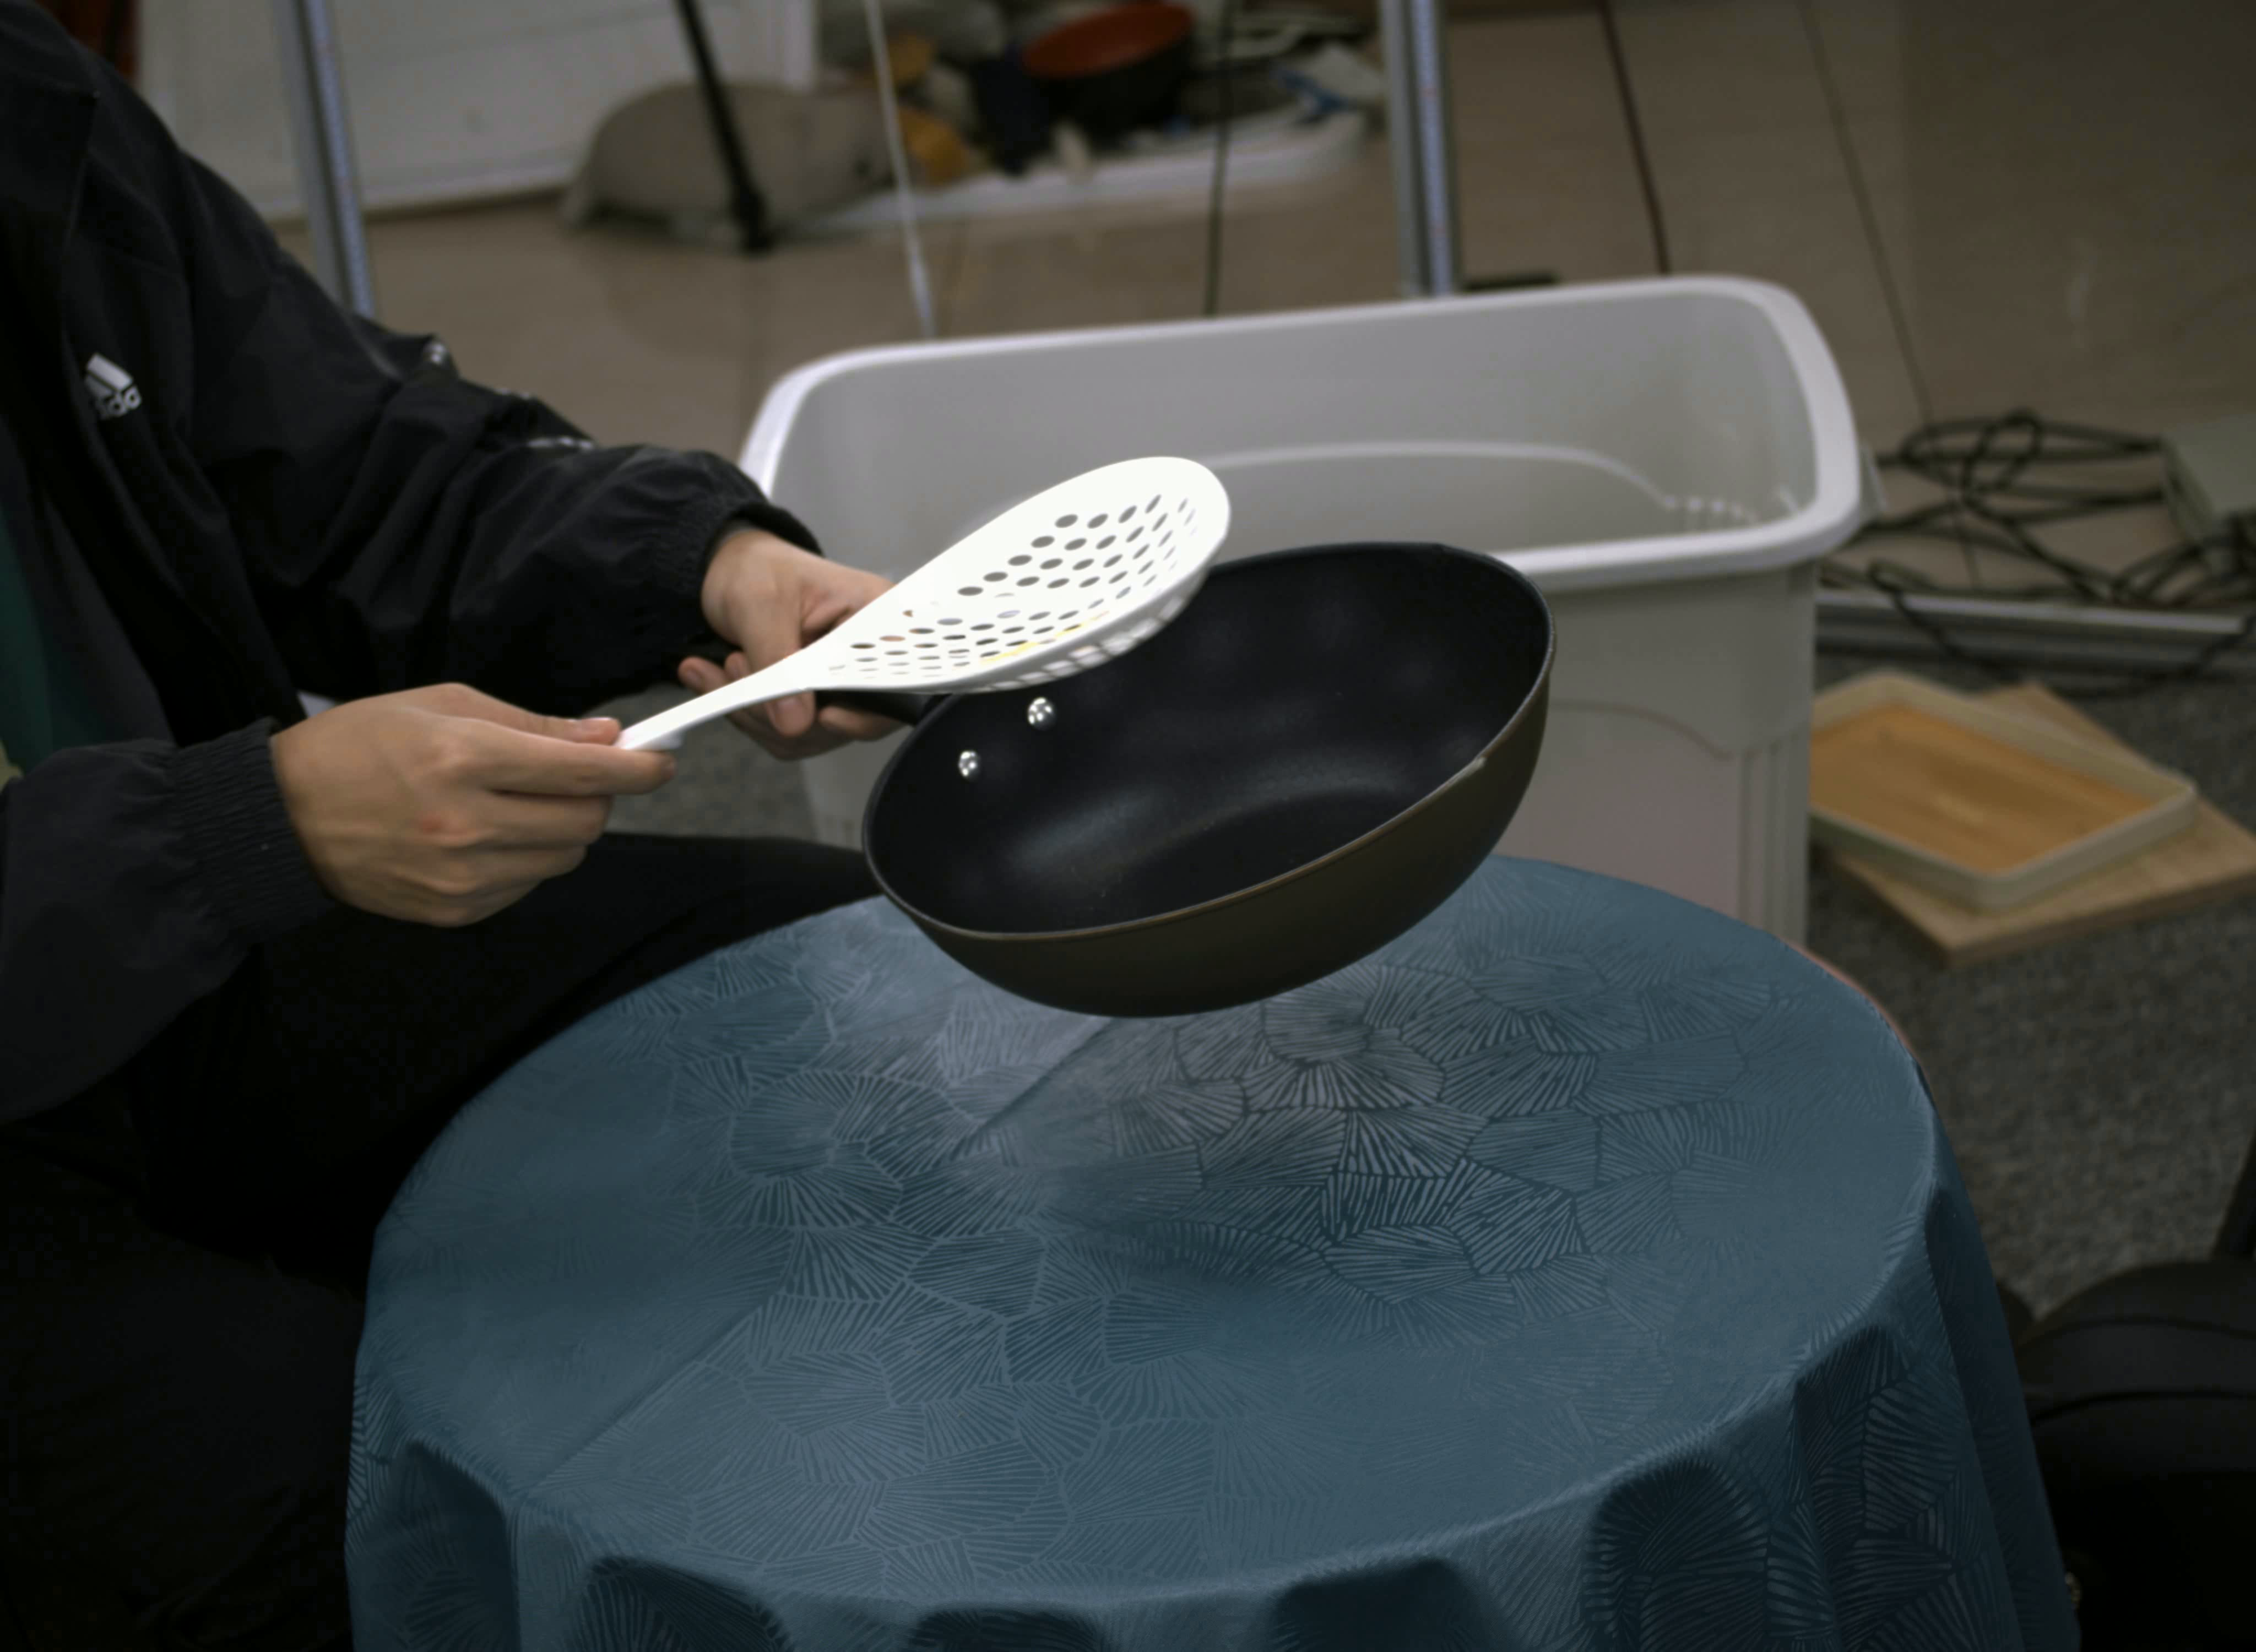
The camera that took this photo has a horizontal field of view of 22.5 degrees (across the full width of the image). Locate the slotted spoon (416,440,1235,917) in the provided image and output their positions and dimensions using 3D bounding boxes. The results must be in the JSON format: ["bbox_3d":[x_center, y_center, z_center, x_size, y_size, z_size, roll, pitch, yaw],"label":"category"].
[{"bbox_3d":[-0.116,-0.050,2.133,0.348,0.051,0.134,-20,30,5],"label":"slotted spoon"}]

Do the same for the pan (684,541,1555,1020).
[{"bbox_3d":[-0.022,-0.018,2.244,0.461,0.088,0.285,11,41,47],"label":"pan"}]
